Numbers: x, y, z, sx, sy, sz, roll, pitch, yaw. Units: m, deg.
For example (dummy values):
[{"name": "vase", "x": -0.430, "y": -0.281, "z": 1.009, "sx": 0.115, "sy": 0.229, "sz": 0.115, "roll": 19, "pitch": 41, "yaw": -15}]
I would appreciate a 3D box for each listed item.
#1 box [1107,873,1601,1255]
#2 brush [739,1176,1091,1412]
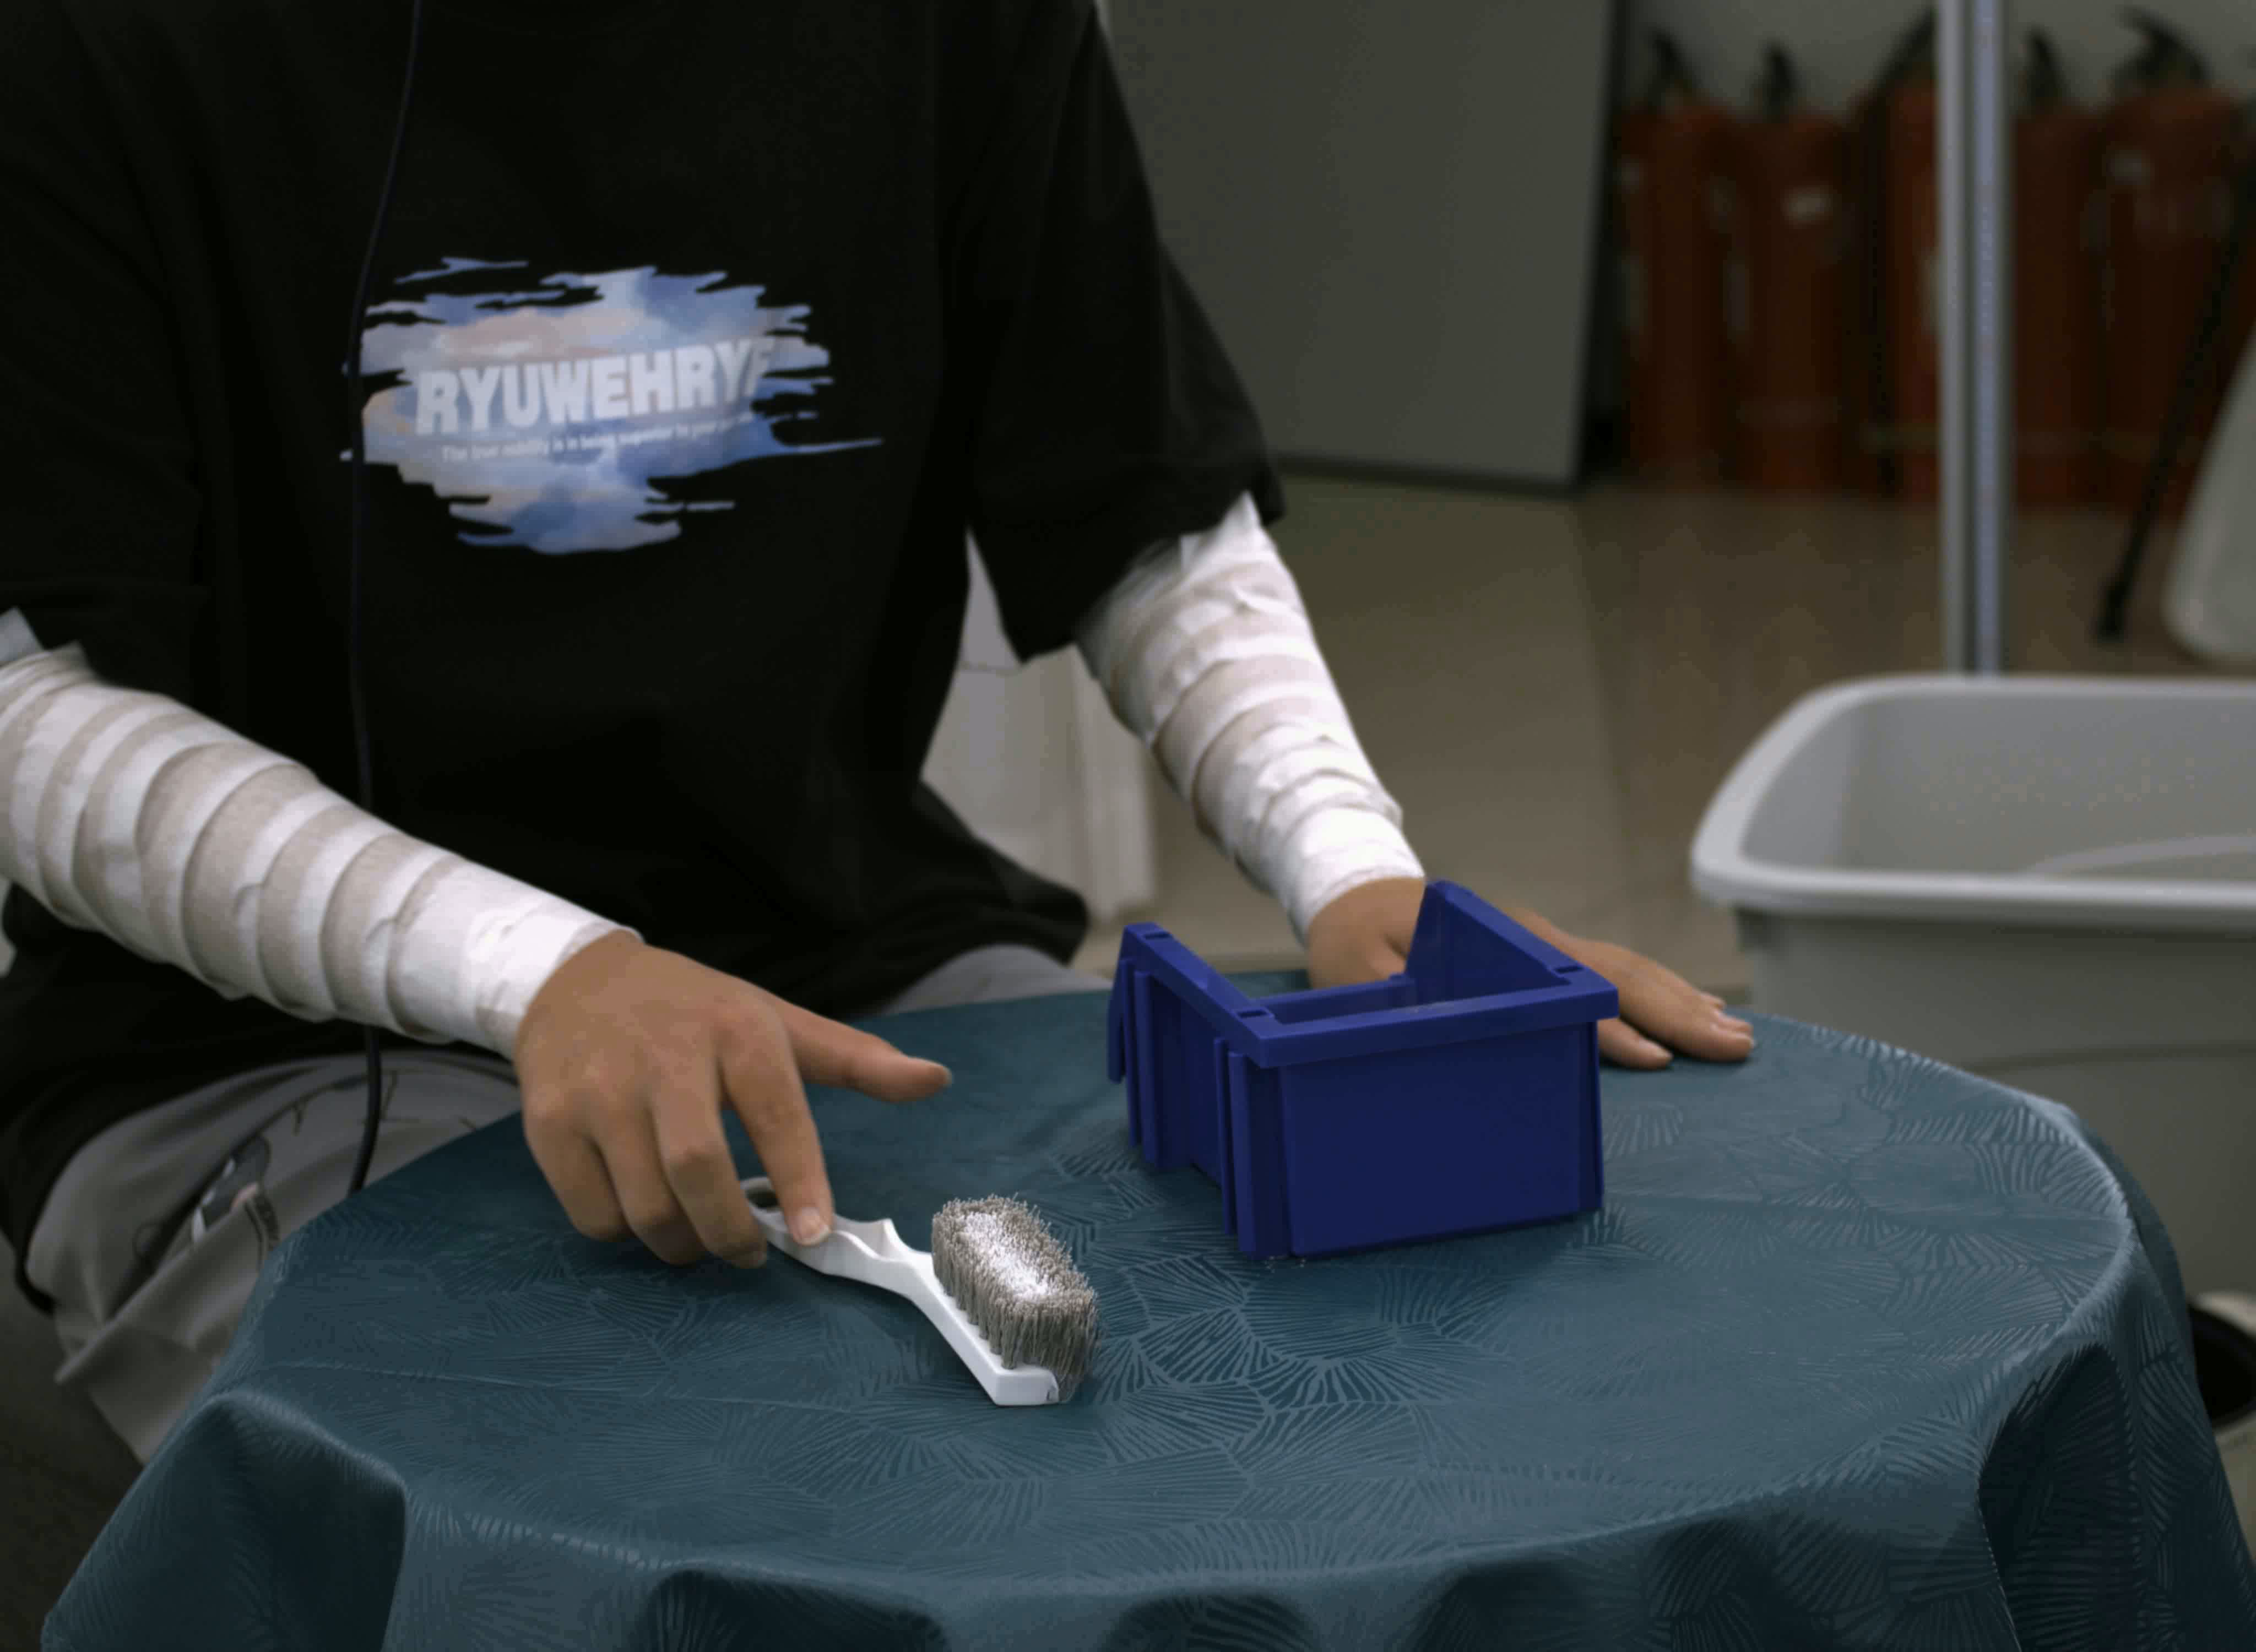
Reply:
[{"name": "box", "x": 0.069, "y": 0.075, "z": 1.772, "sx": 0.122, "sy": 0.083, "sz": 0.181, "roll": -7, "pitch": 15, "yaw": -13}, {"name": "brush", "x": -0.072, "y": 0.125, "z": 1.673, "sx": 0.033, "sy": 0.051, "sz": 0.246, "roll": -9, "pitch": 15, "yaw": -22}]
